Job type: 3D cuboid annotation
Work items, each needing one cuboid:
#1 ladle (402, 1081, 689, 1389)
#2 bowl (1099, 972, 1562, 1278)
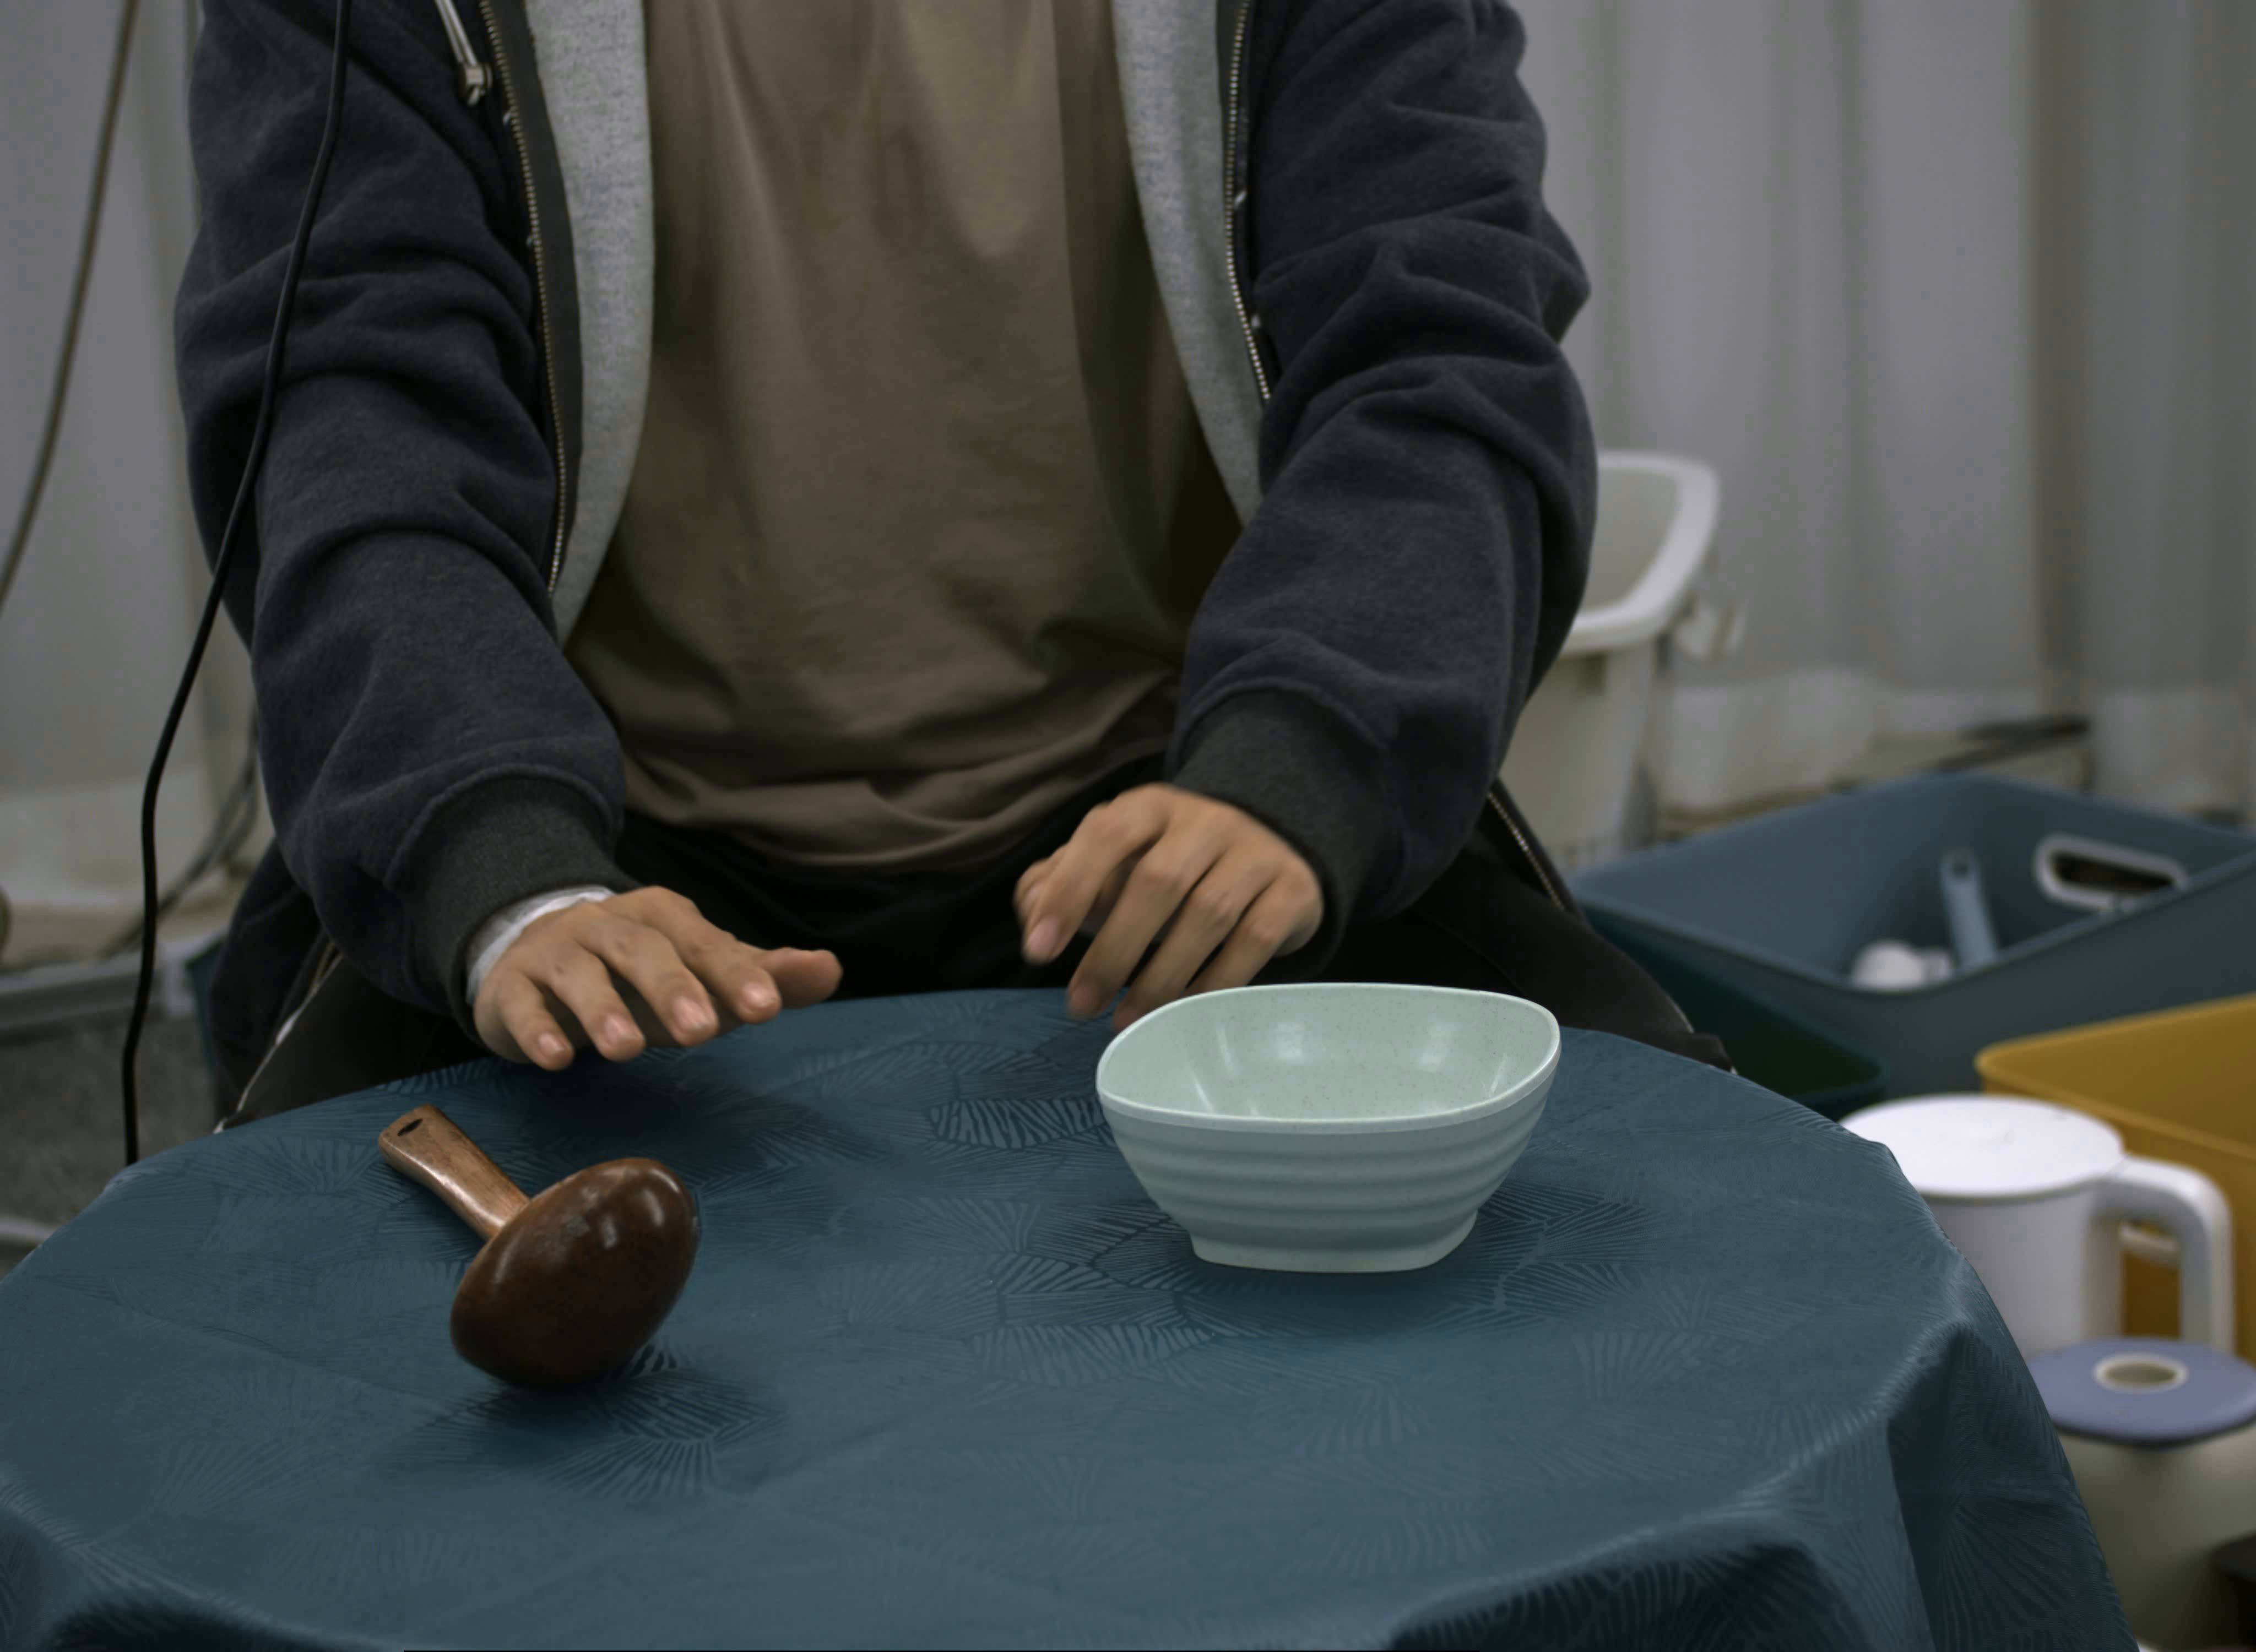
[{"bbox_3d":[-0.197,0.103,1.653,0.082,0.076,0.276,-34,24,-10],"label":"ladle"},{"bbox_3d":[0.063,0.095,1.667,0.151,0.058,0.152,-4,17,1],"label":"bowl"}]
